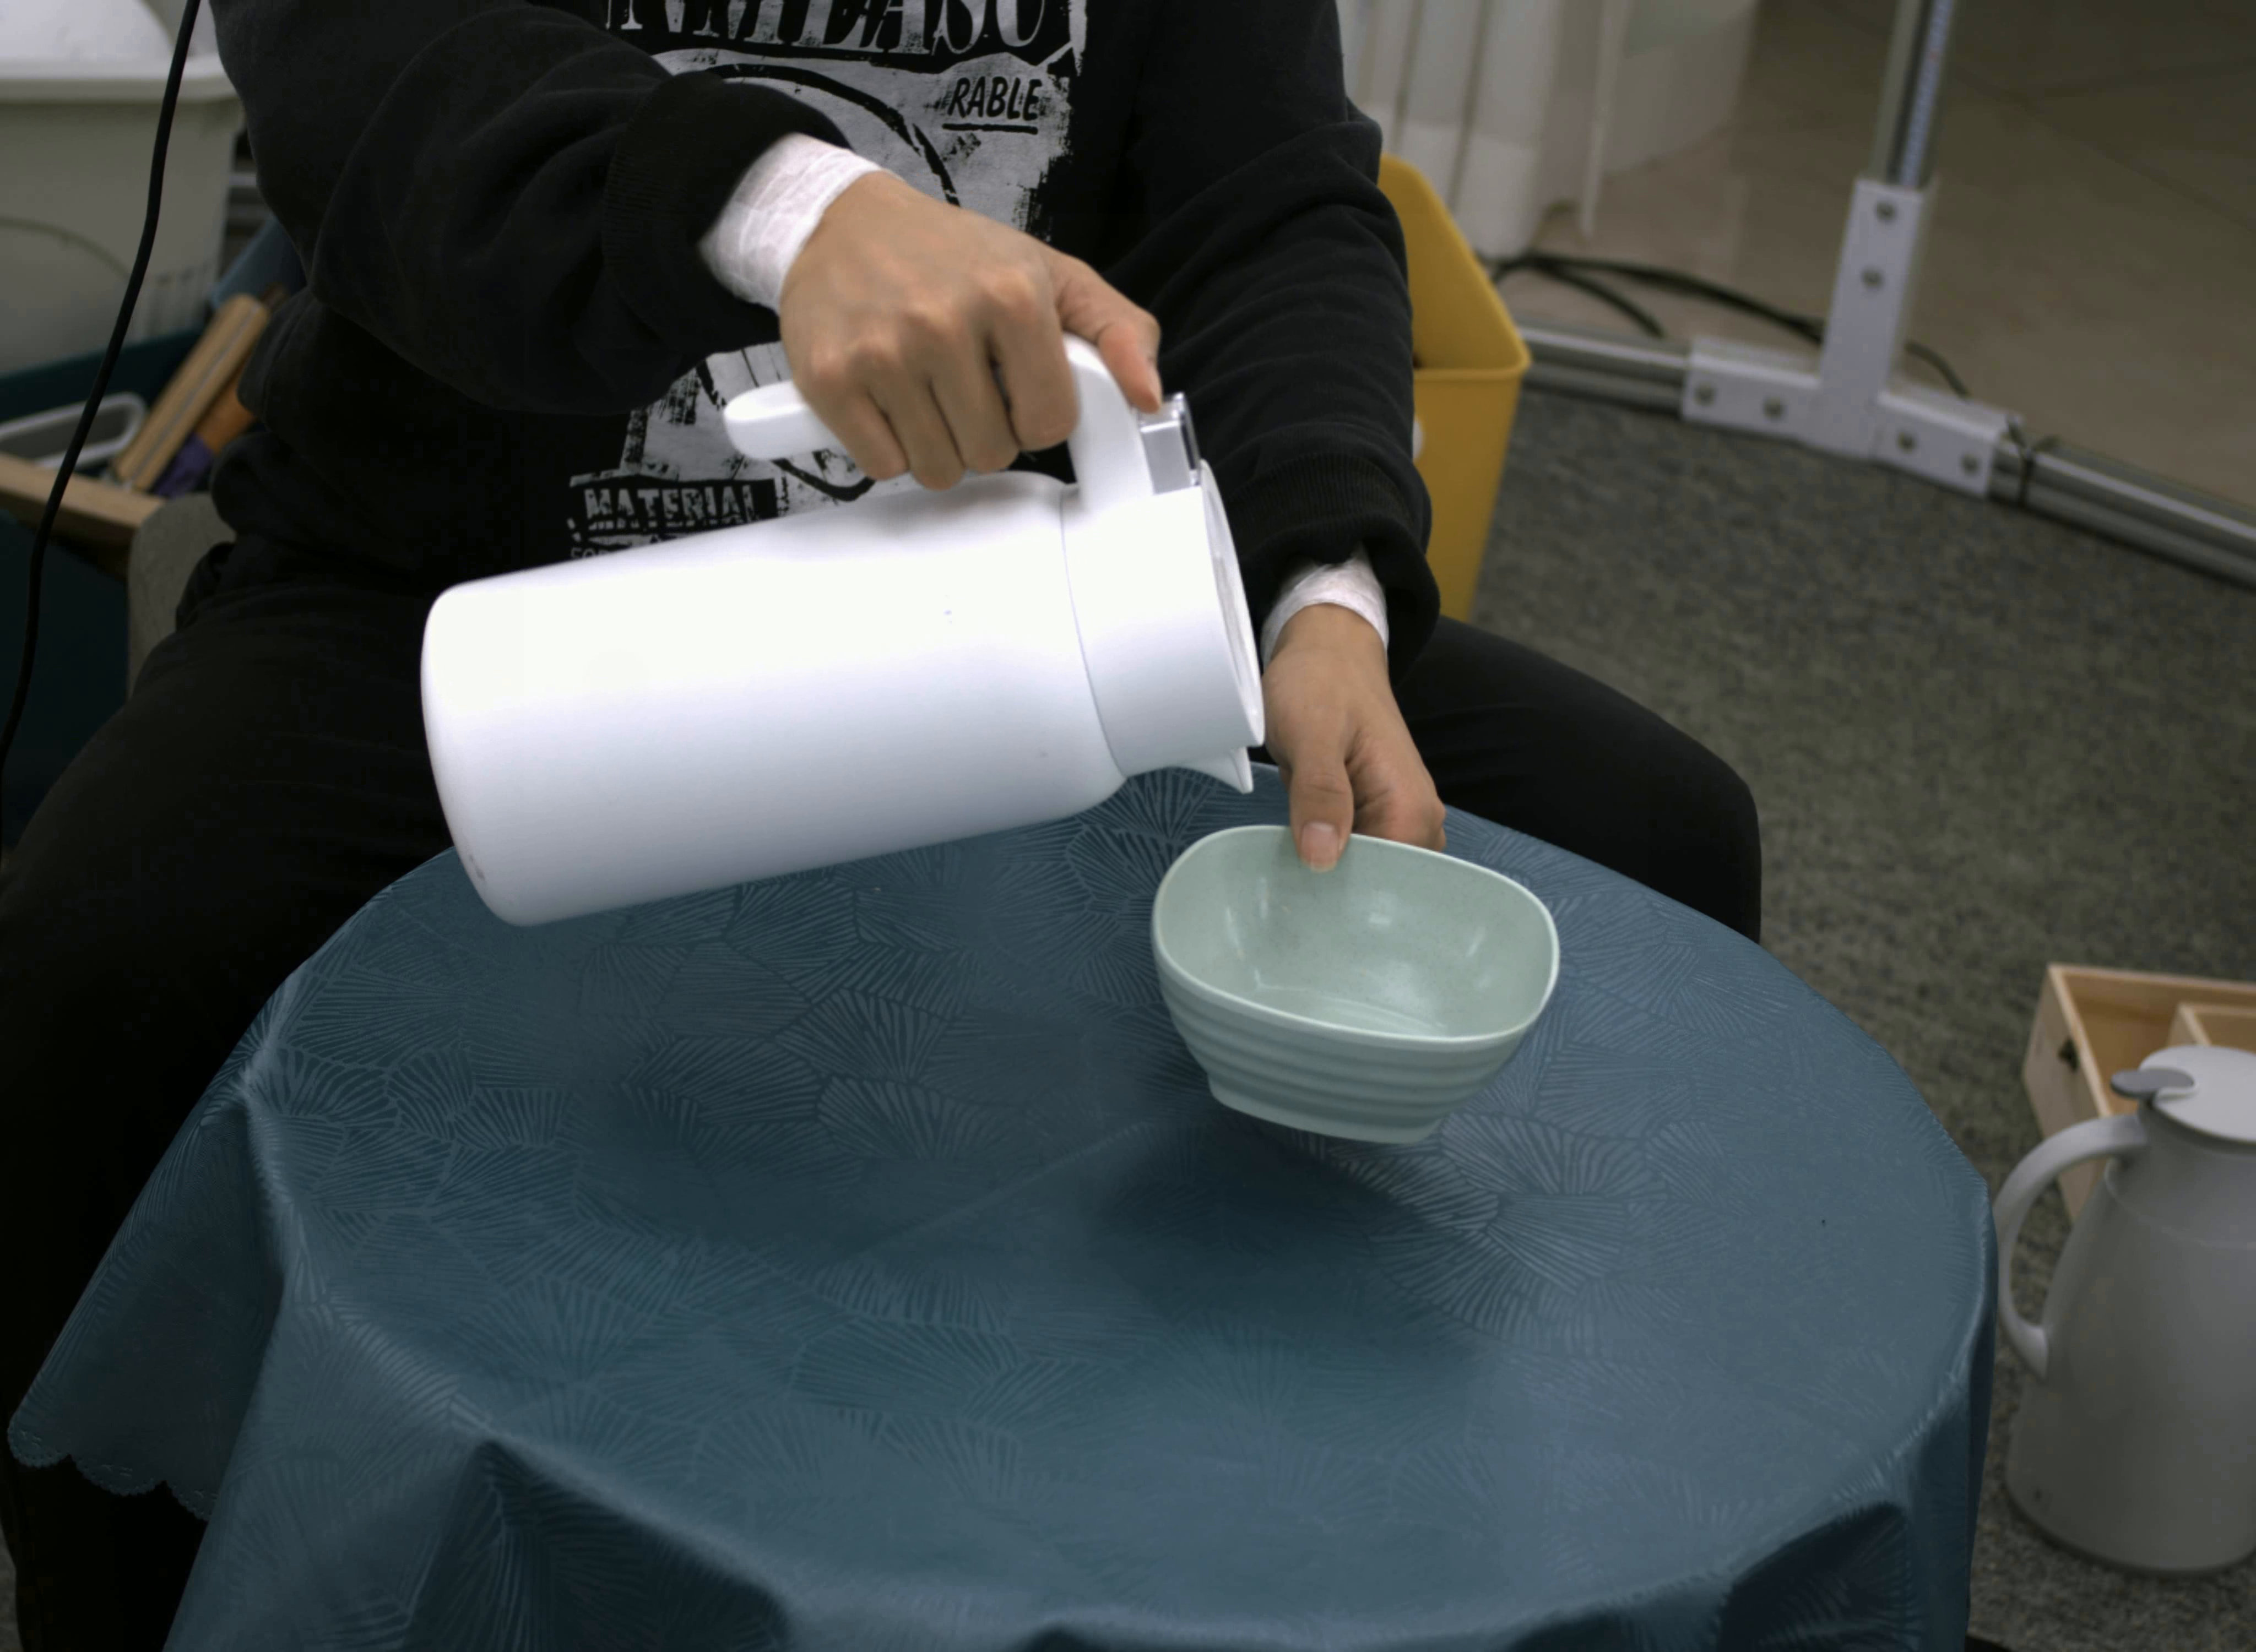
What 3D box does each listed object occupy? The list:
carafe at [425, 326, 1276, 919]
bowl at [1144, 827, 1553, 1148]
[{"bbox_3d":[-0.097,-0.064,1.764,0.268,0.172,0.124,-10,25,9],"label":"carafe"},{"bbox_3d":[0.071,0.061,1.810,0.151,0.058,0.152,7,27,-4],"label":"bowl"}]
